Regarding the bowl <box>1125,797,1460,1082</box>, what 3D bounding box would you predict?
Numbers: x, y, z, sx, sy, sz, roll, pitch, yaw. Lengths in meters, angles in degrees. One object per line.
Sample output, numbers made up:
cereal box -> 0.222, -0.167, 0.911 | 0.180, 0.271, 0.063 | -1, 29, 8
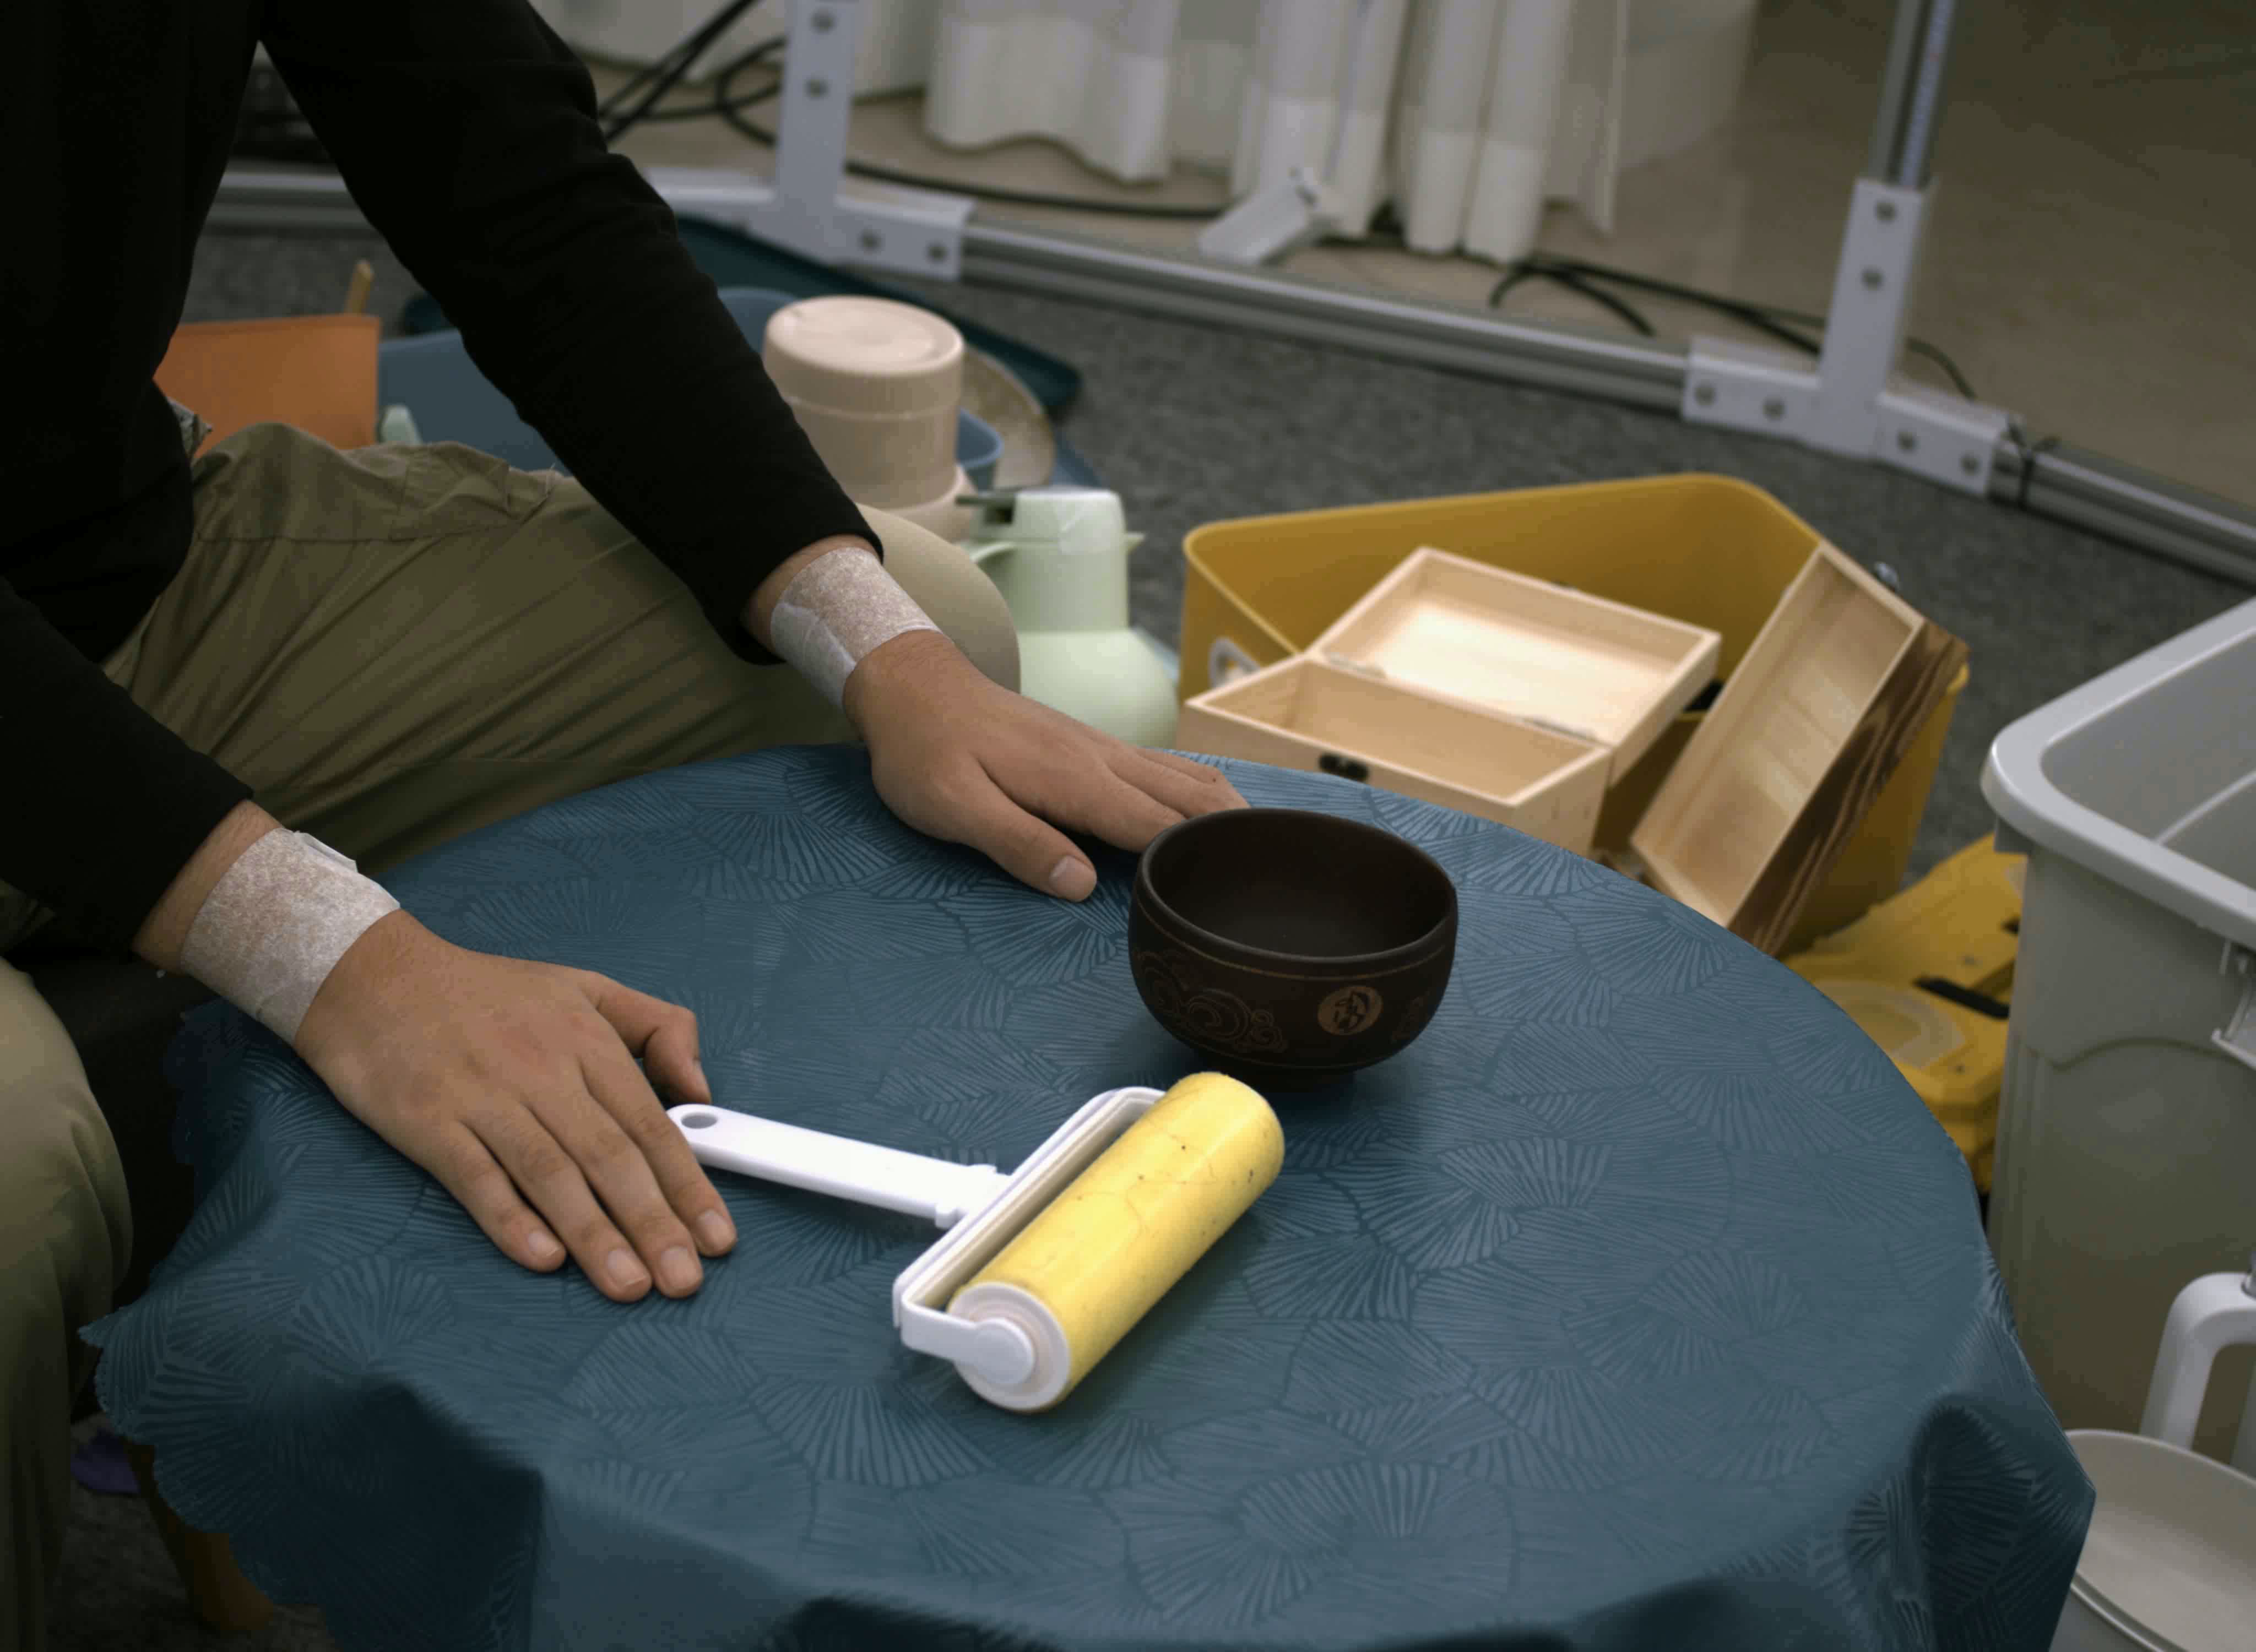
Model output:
bowl -> 0.056, 0.047, 1.883 | 0.117, 0.069, 0.119 | 6, 27, -4

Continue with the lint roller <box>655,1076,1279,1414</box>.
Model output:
lint roller -> -0.068, 0.112, 1.751 | 0.192, 0.051, 0.174 | 21, 30, 17
